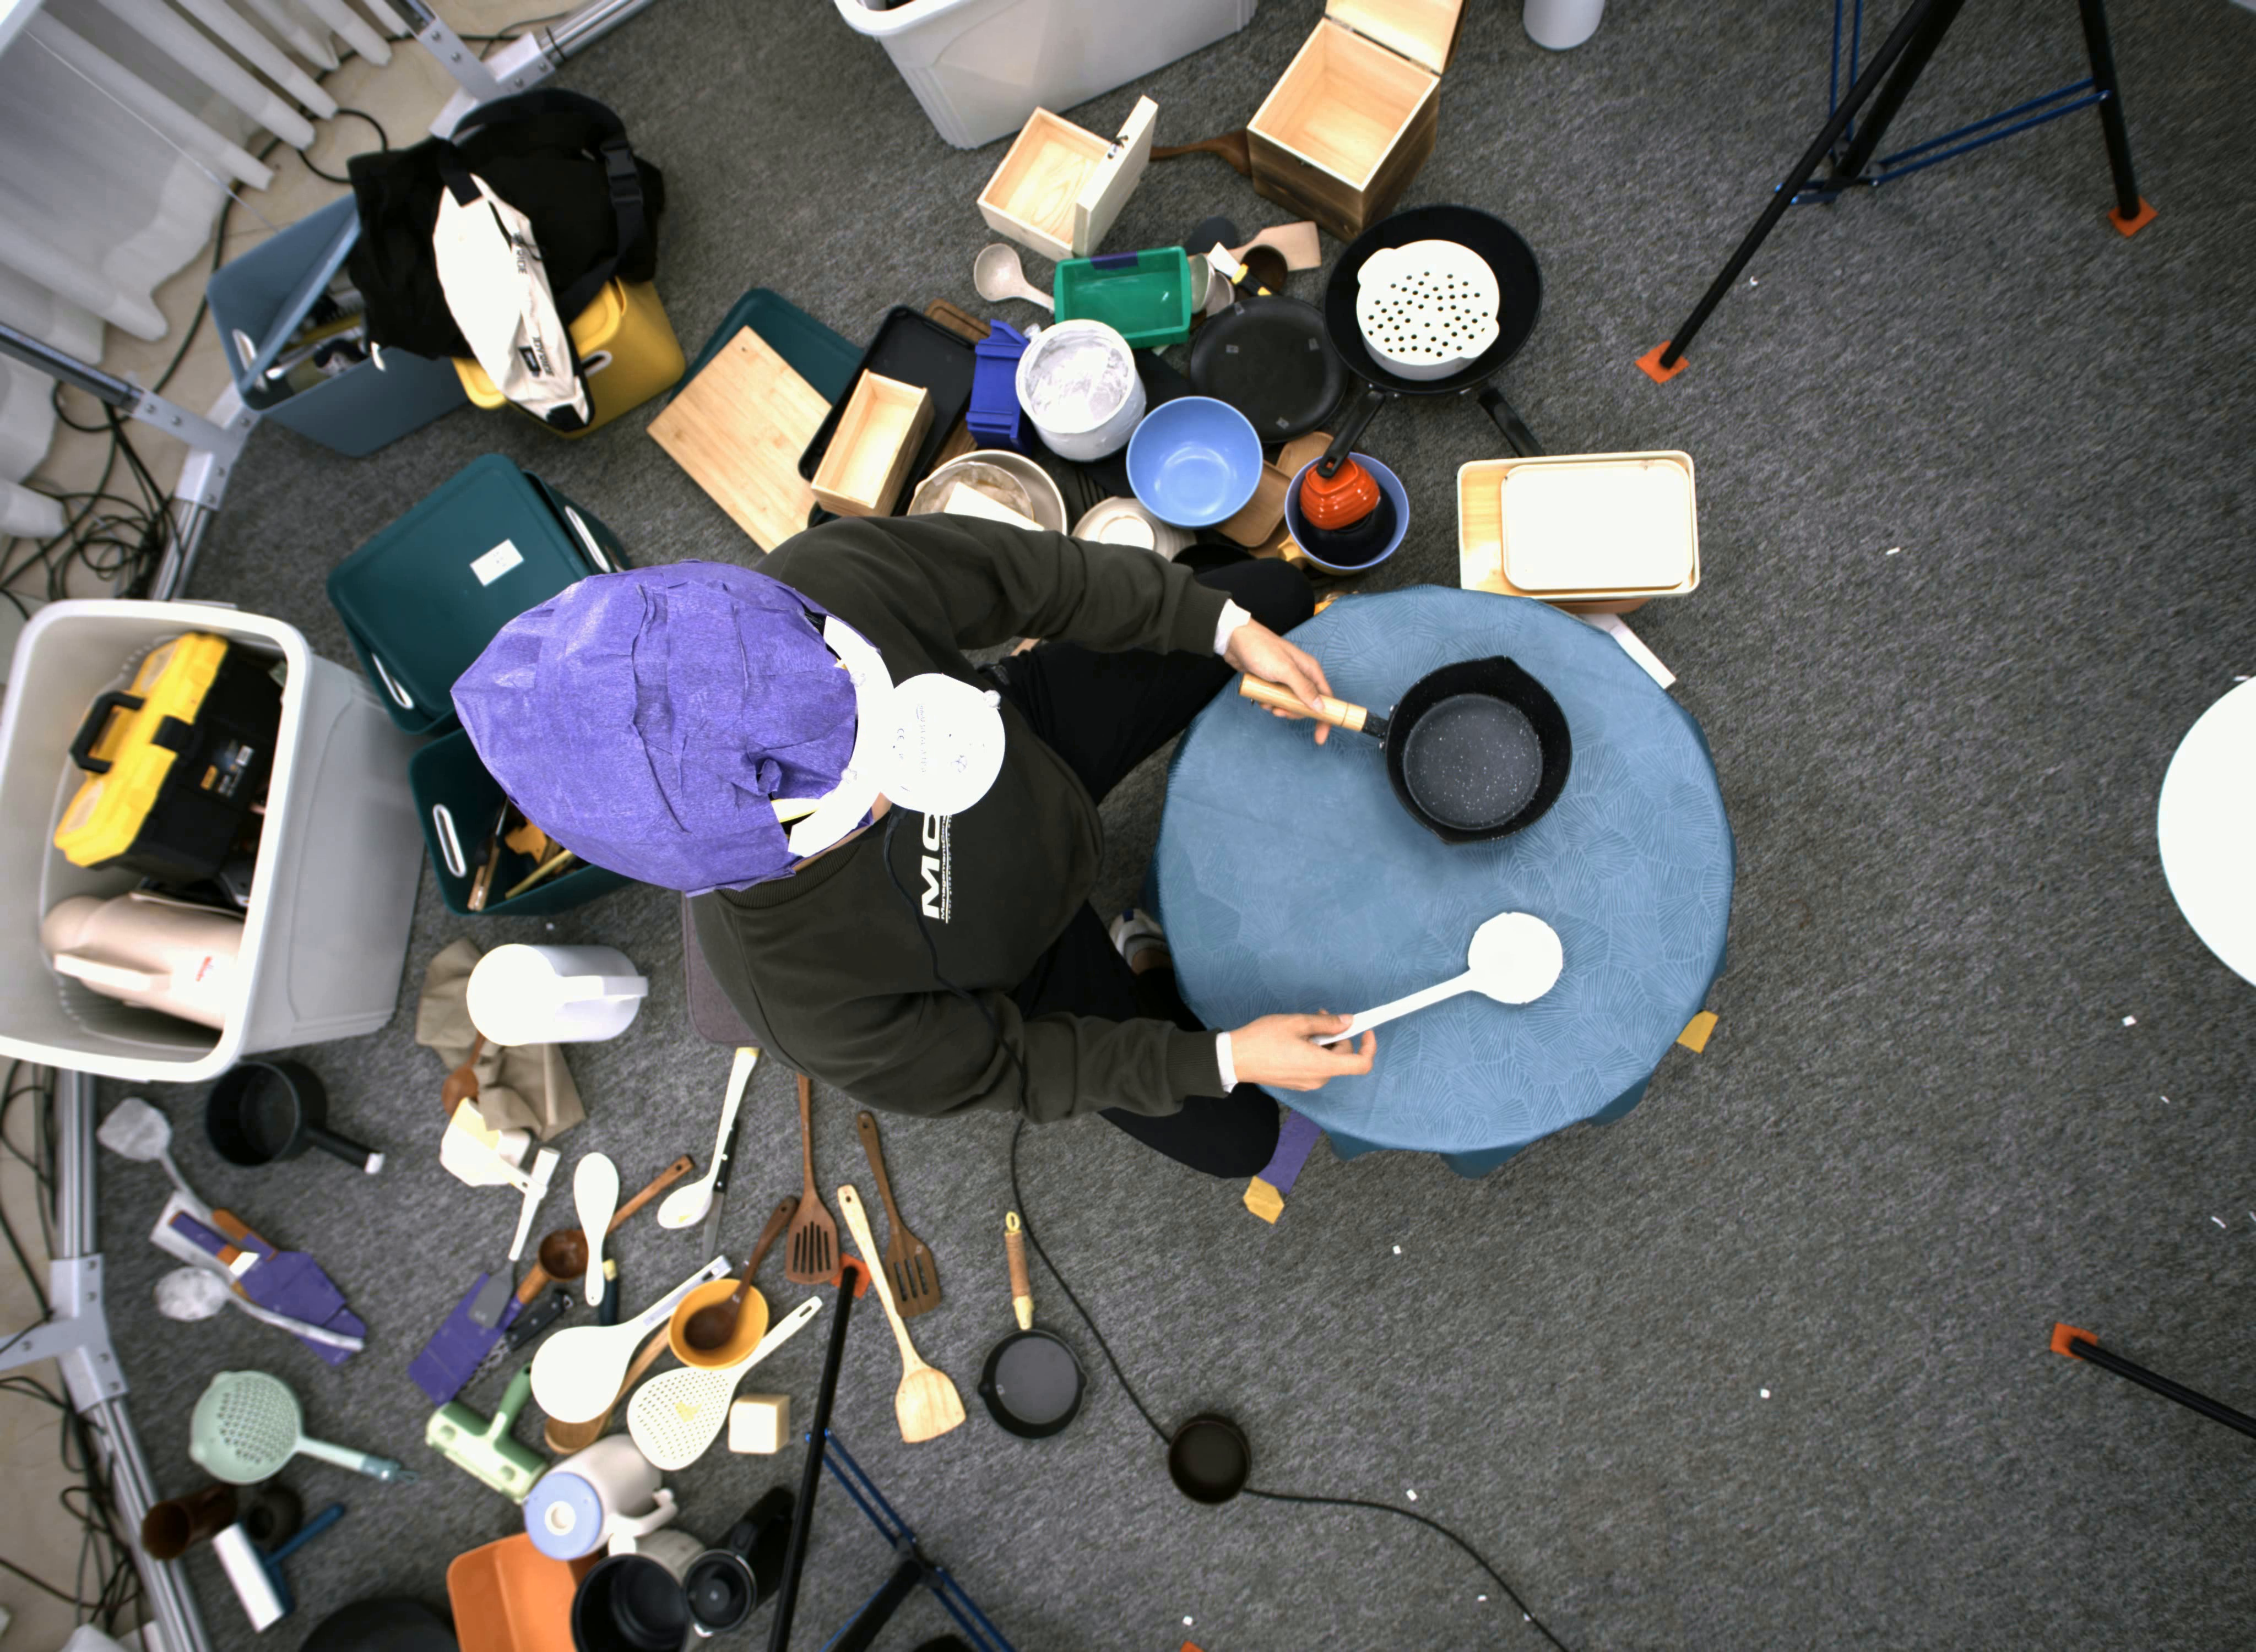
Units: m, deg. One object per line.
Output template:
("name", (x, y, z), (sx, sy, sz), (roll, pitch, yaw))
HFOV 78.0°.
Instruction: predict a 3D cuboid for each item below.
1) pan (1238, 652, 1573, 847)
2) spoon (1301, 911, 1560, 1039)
("pan", (0.279, -0.095, 1.413), (0.343, 0.108, 0.207), (16, 90, 10))
("spoon", (0.302, 0.155, 1.387), (0.276, 0.060, 0.099), (-15, 69, -16))
